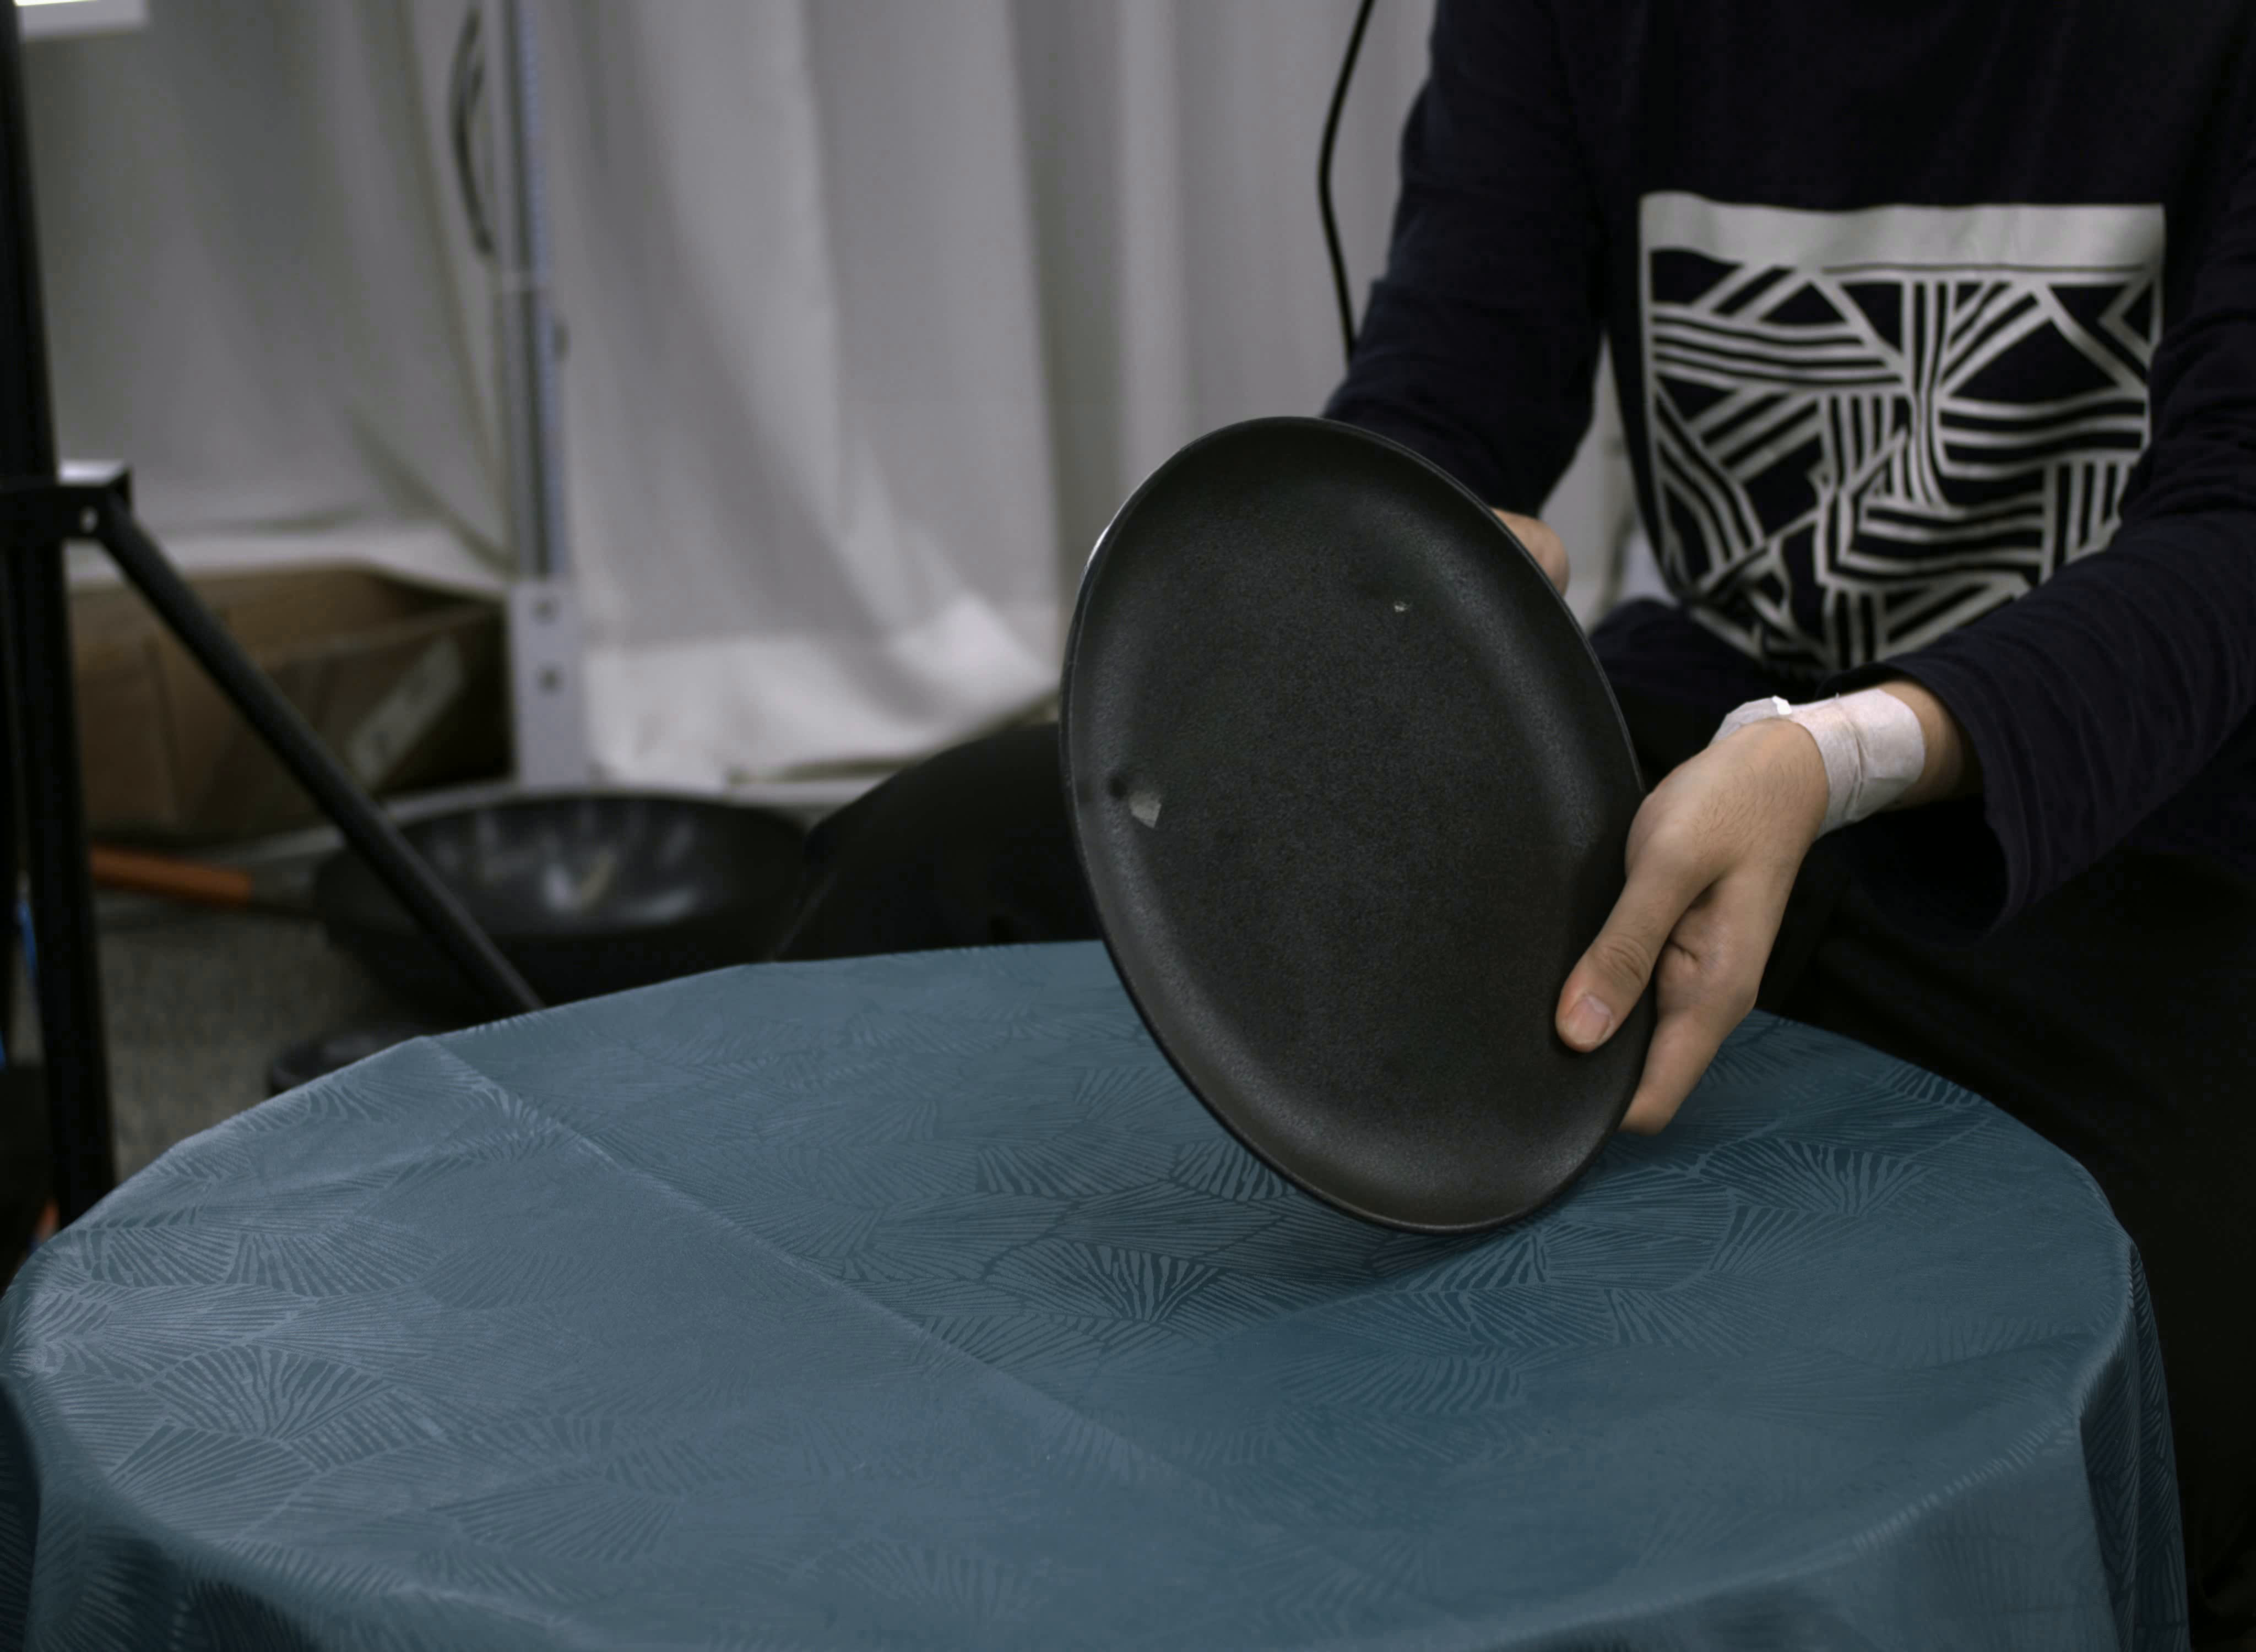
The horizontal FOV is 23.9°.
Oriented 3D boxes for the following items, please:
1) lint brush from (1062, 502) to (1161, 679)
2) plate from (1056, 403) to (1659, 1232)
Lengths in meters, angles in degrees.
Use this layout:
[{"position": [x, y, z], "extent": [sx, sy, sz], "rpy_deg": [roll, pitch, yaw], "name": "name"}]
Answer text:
[{"position": [0.059, -0.063, 1.634], "extent": [0.021, 0.060, 0.302], "rpy_deg": [11, 4, 28], "name": "lint brush"}, {"position": [0.064, -0.002, 1.525], "extent": [0.239, 0.245, 0.024], "rpy_deg": [-18, -2, -45], "name": "plate"}]
